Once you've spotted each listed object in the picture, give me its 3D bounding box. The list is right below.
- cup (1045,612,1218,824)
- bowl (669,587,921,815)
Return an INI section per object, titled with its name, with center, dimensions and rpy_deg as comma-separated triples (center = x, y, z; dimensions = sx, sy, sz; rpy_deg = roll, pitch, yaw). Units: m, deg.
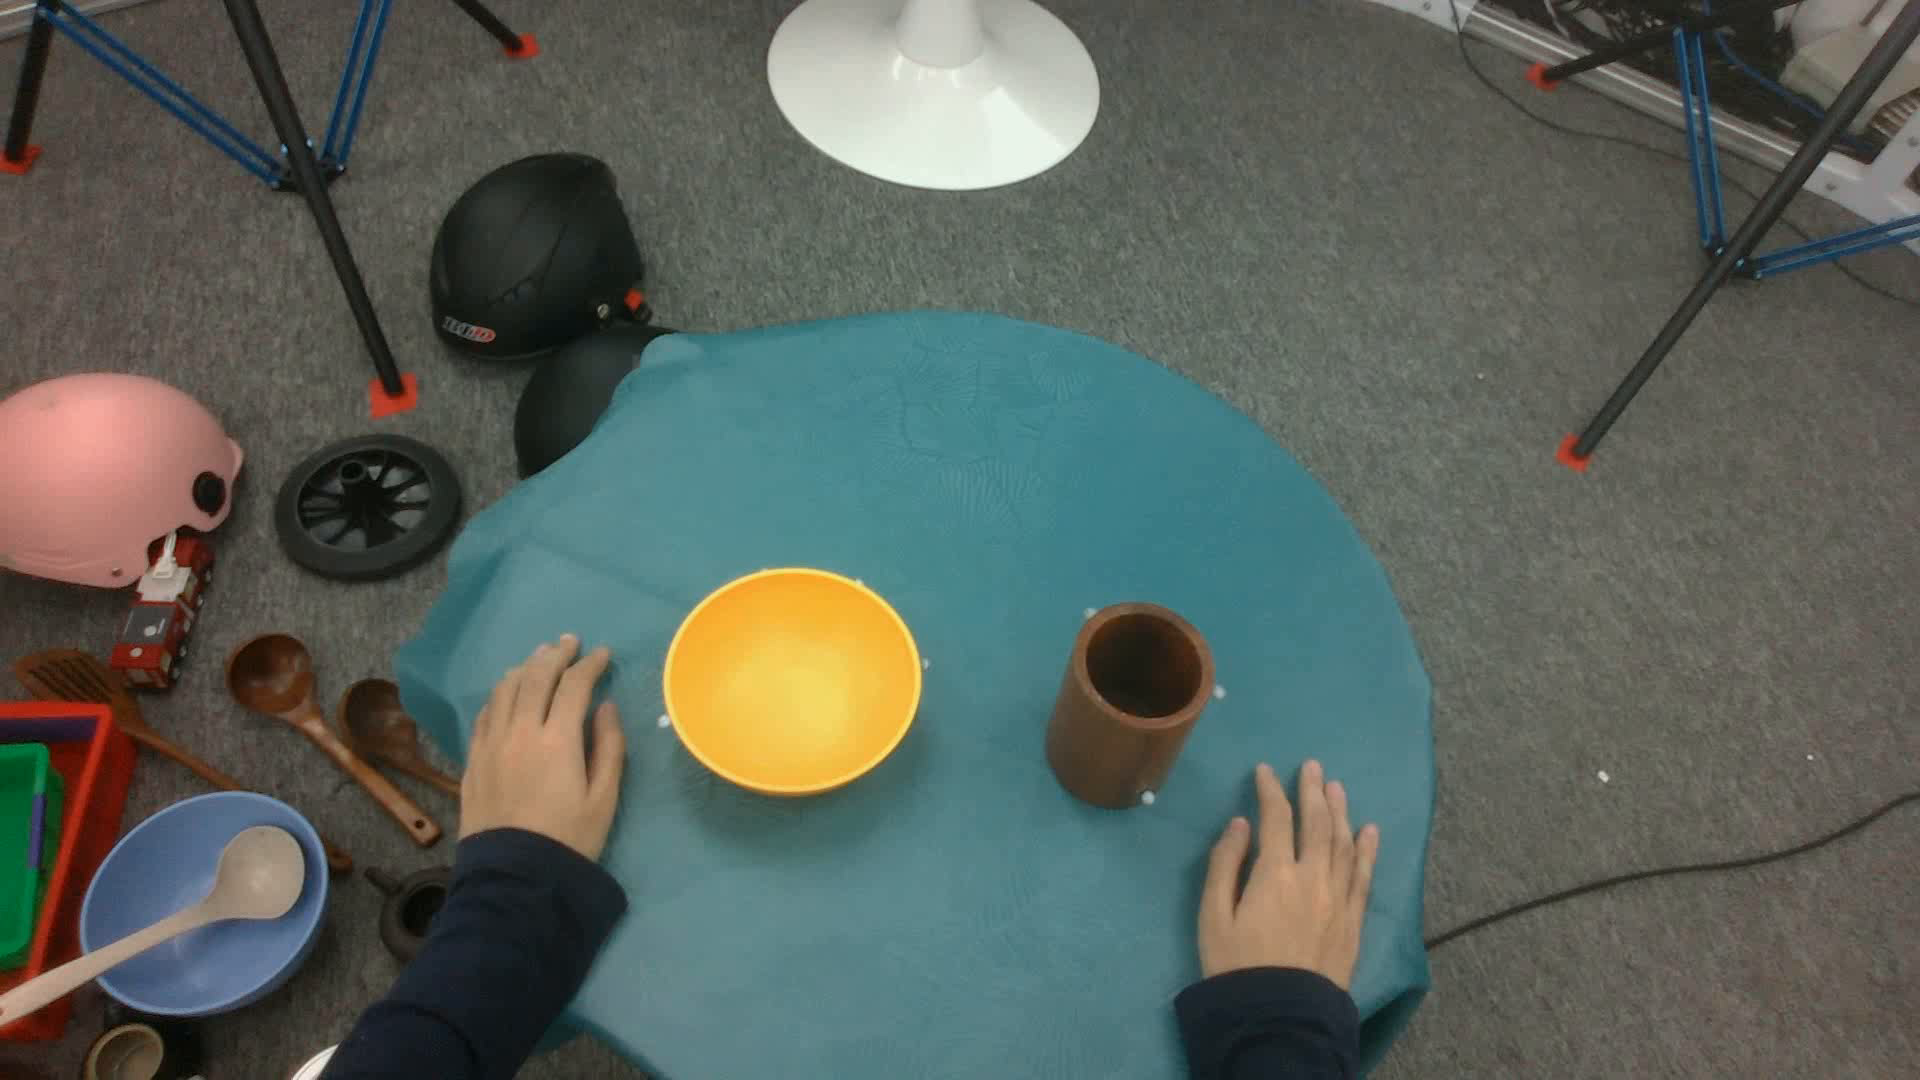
[cup]
center = 0.097, 0.106, 0.801
dimensions = 0.088, 0.118, 0.088
rpy_deg = 2, 55, -3
[bowl]
center = -0.097, 0.104, 0.817
dimensions = 0.145, 0.060, 0.146
rpy_deg = 3, 57, -4
